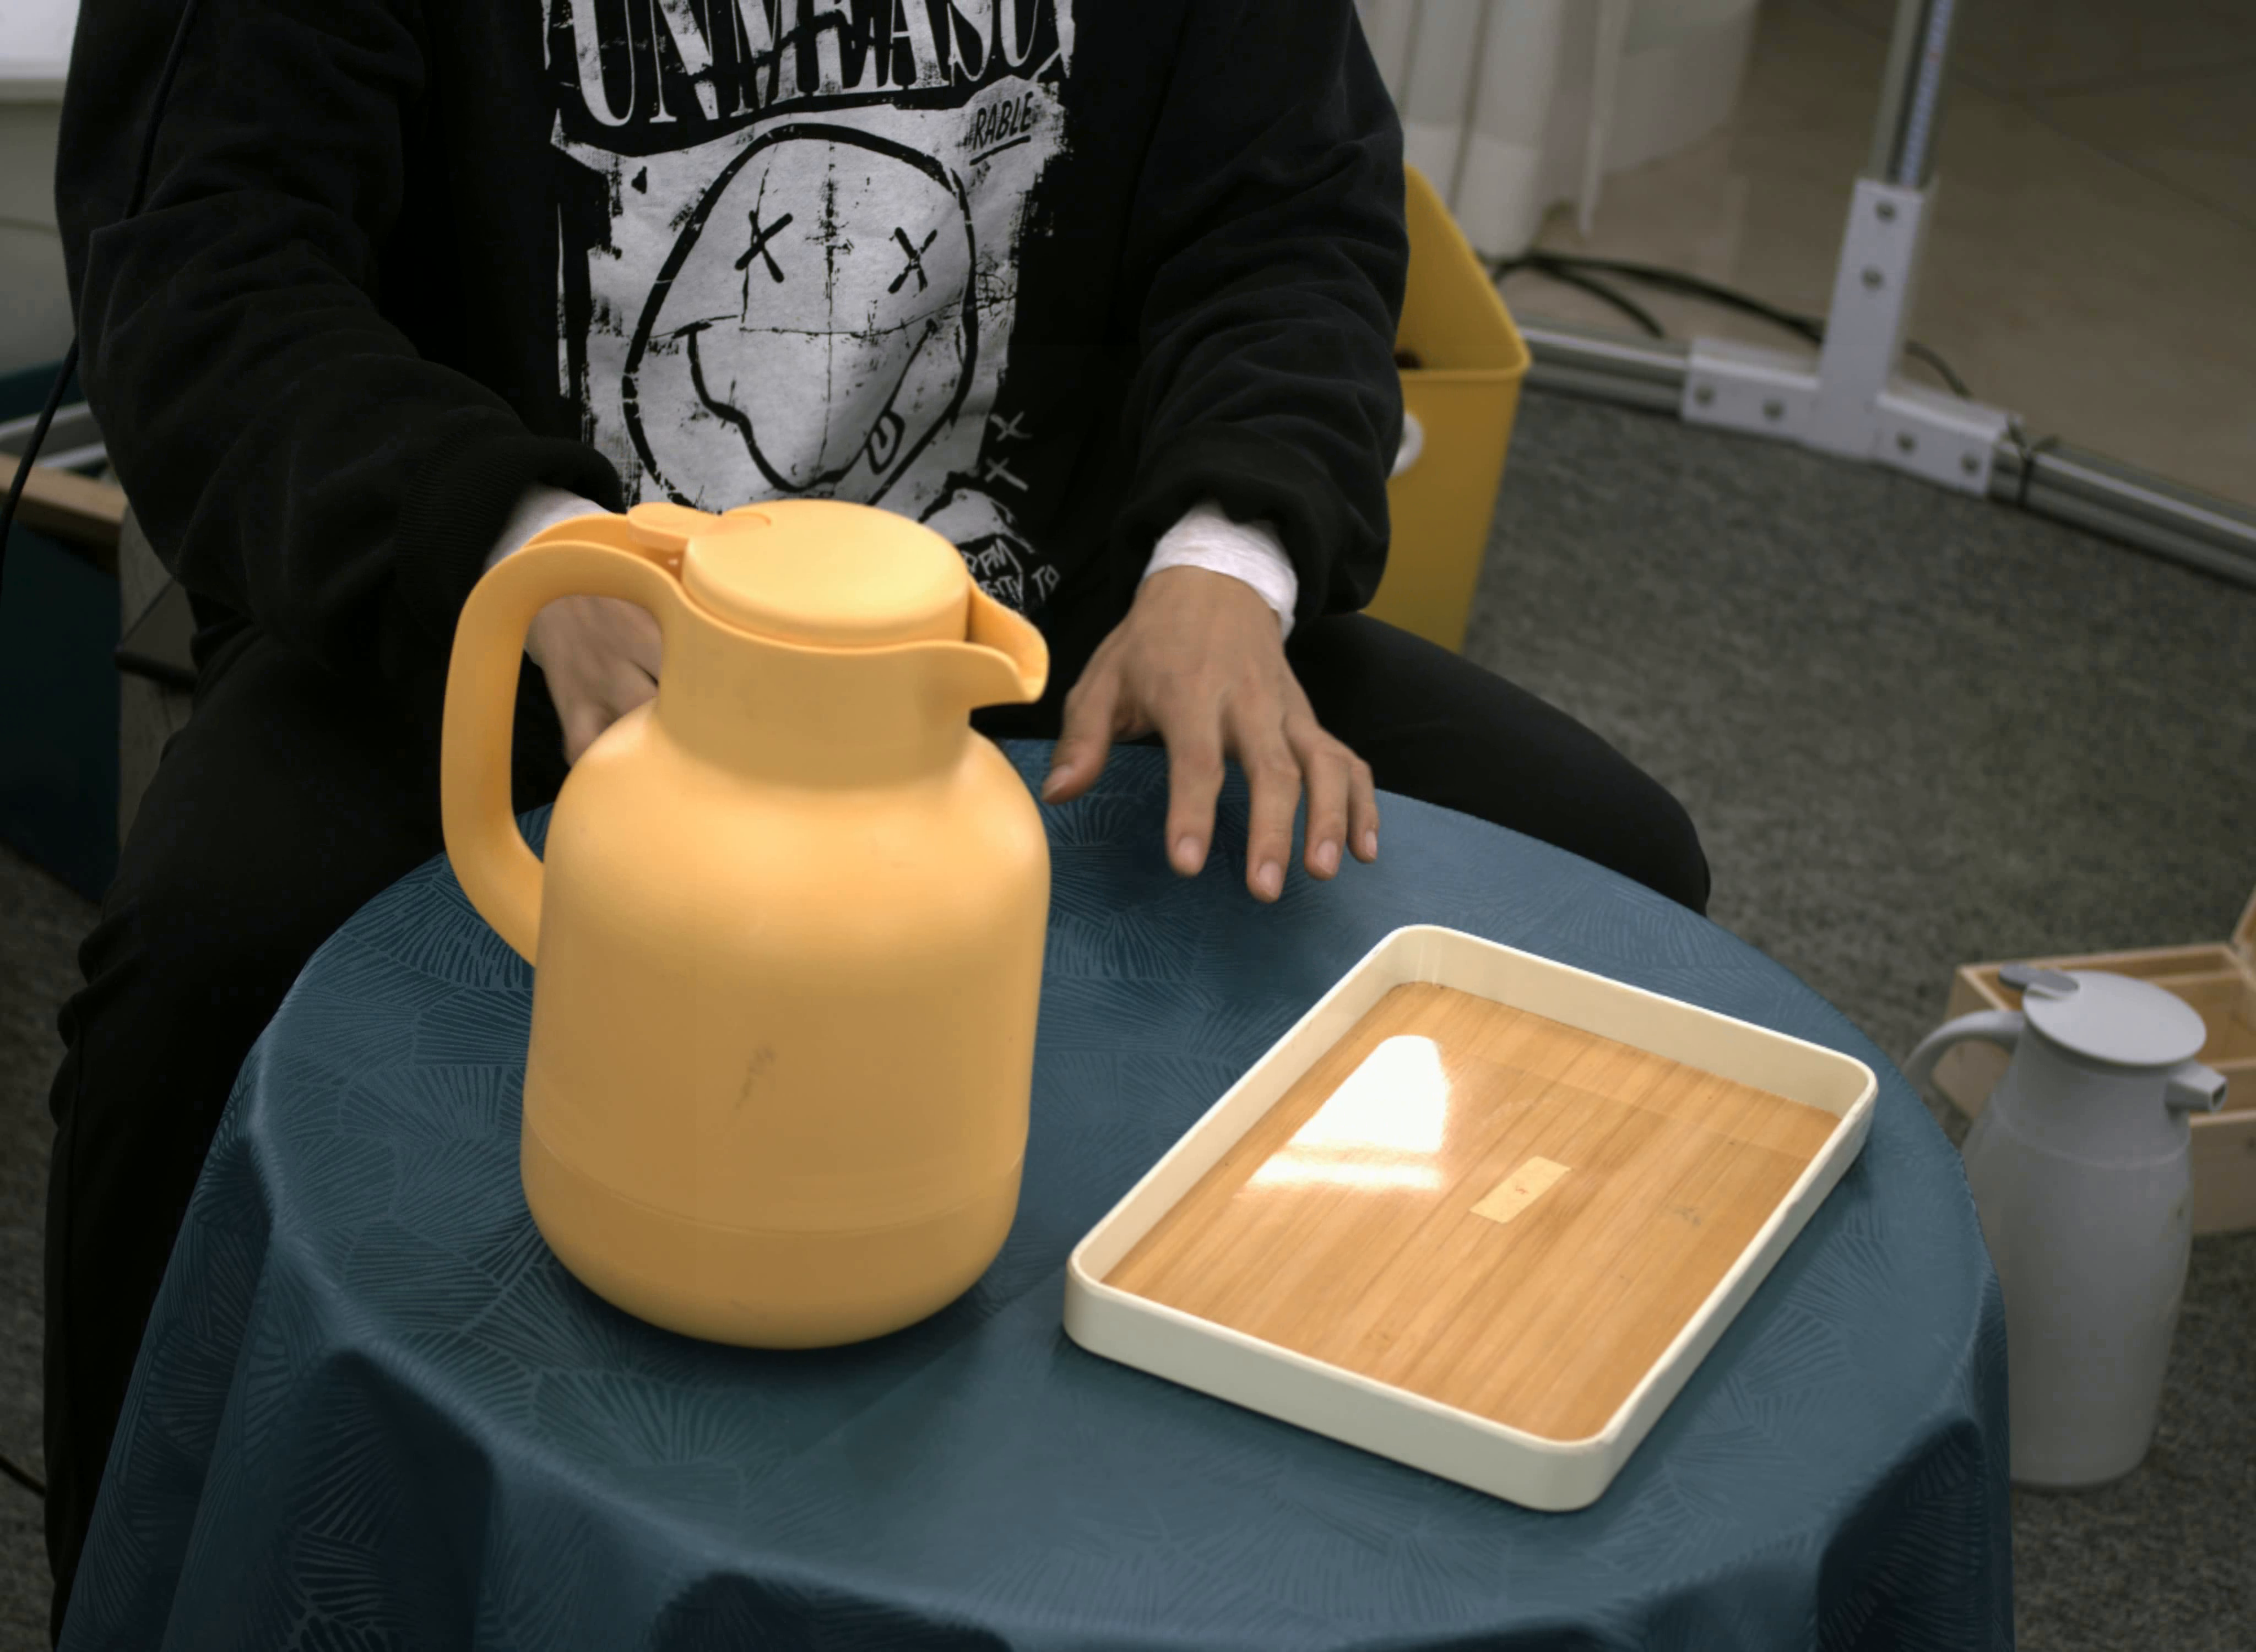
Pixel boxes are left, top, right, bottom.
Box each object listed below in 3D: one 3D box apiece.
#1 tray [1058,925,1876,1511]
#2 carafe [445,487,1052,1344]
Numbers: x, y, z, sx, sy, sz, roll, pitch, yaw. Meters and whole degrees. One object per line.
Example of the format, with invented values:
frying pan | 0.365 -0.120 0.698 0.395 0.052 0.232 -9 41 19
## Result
tray | 0.120 0.126 1.799 0.192 0.027 0.300 18 29 20
carafe | -0.125 0.018 1.695 0.203 0.260 0.163 19 26 19
